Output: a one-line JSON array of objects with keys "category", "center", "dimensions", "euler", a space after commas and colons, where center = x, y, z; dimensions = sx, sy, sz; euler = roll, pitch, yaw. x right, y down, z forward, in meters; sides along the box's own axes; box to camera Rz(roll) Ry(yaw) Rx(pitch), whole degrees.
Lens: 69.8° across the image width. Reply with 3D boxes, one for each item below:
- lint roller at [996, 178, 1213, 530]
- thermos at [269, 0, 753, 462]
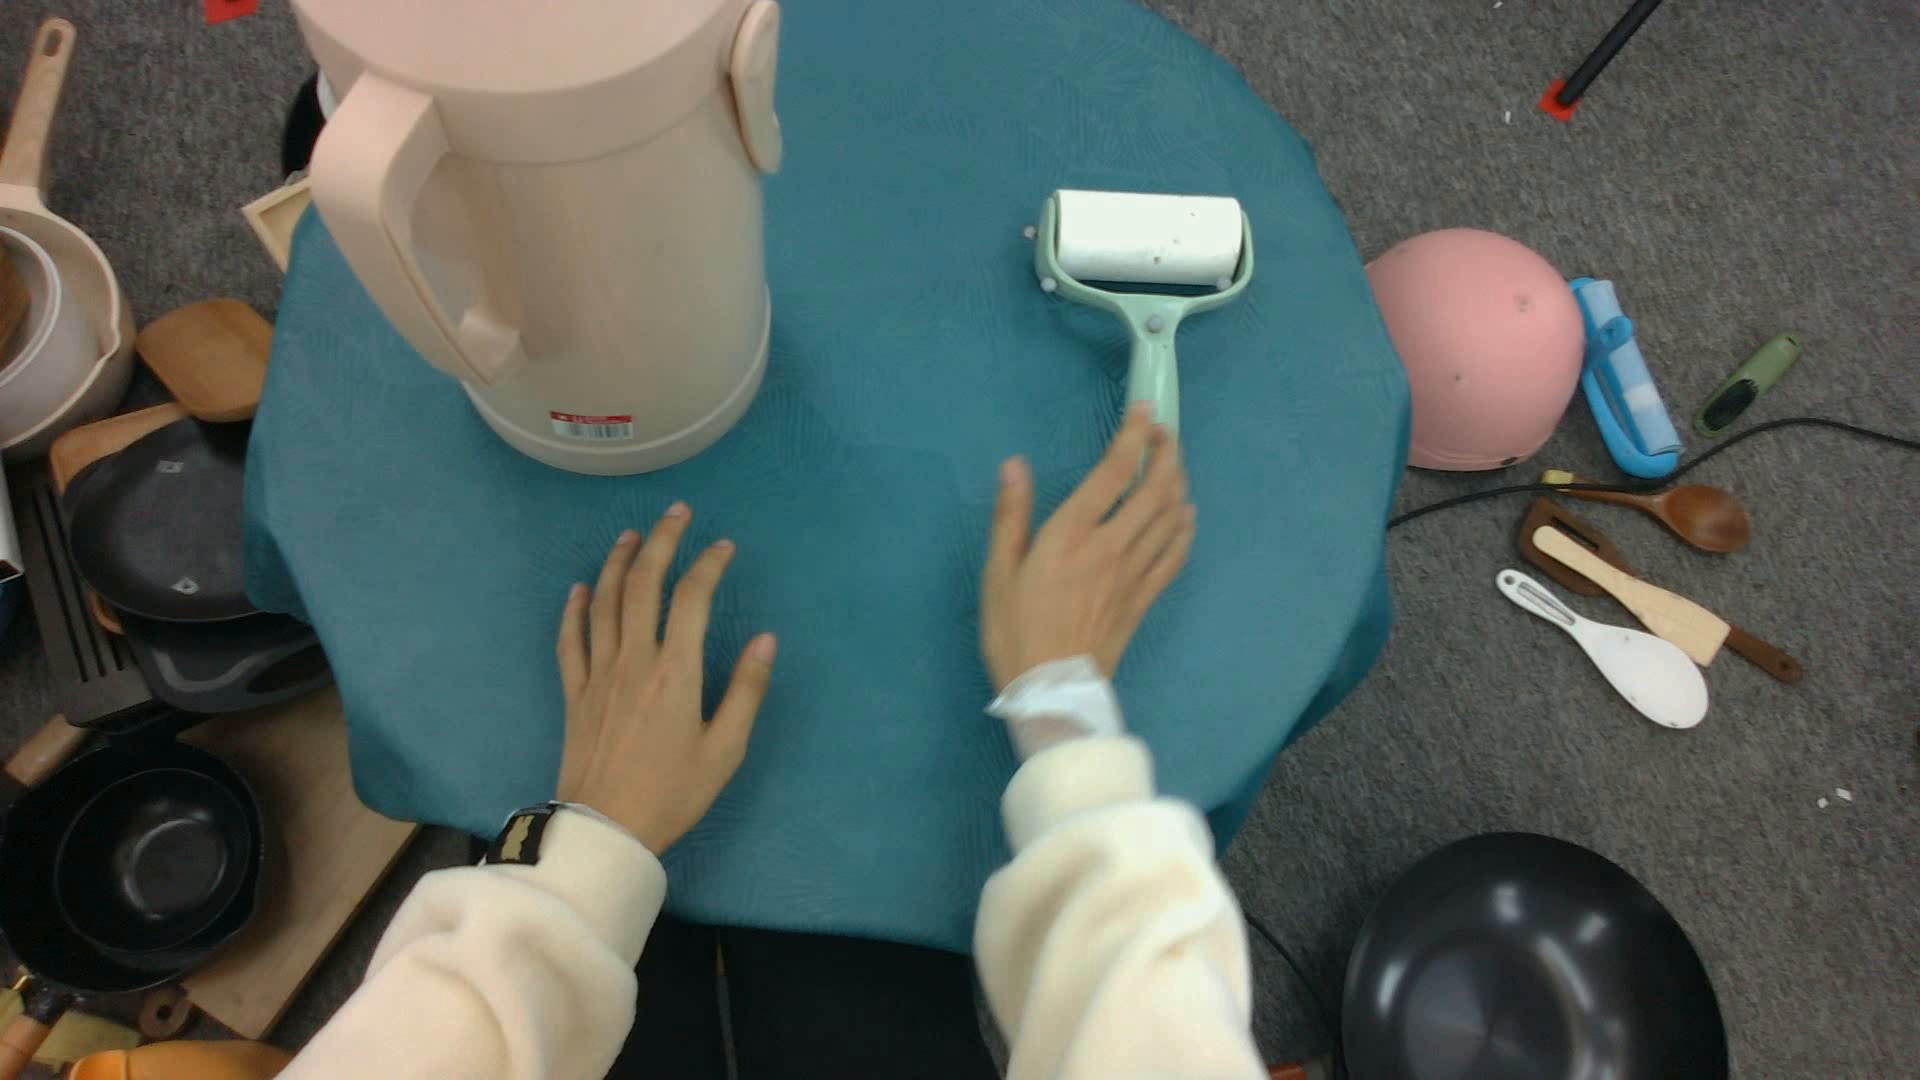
[{"category": "lint roller", "center": [0.079, -0.104, 0.735], "dimensions": [0.117, 0.048, 0.198], "euler": [2, 70, -9]}, {"category": "thermos", "center": [-0.172, -0.168, 0.534], "dimensions": [0.175, 0.404, 0.208], "euler": [22, 68, -1]}]
